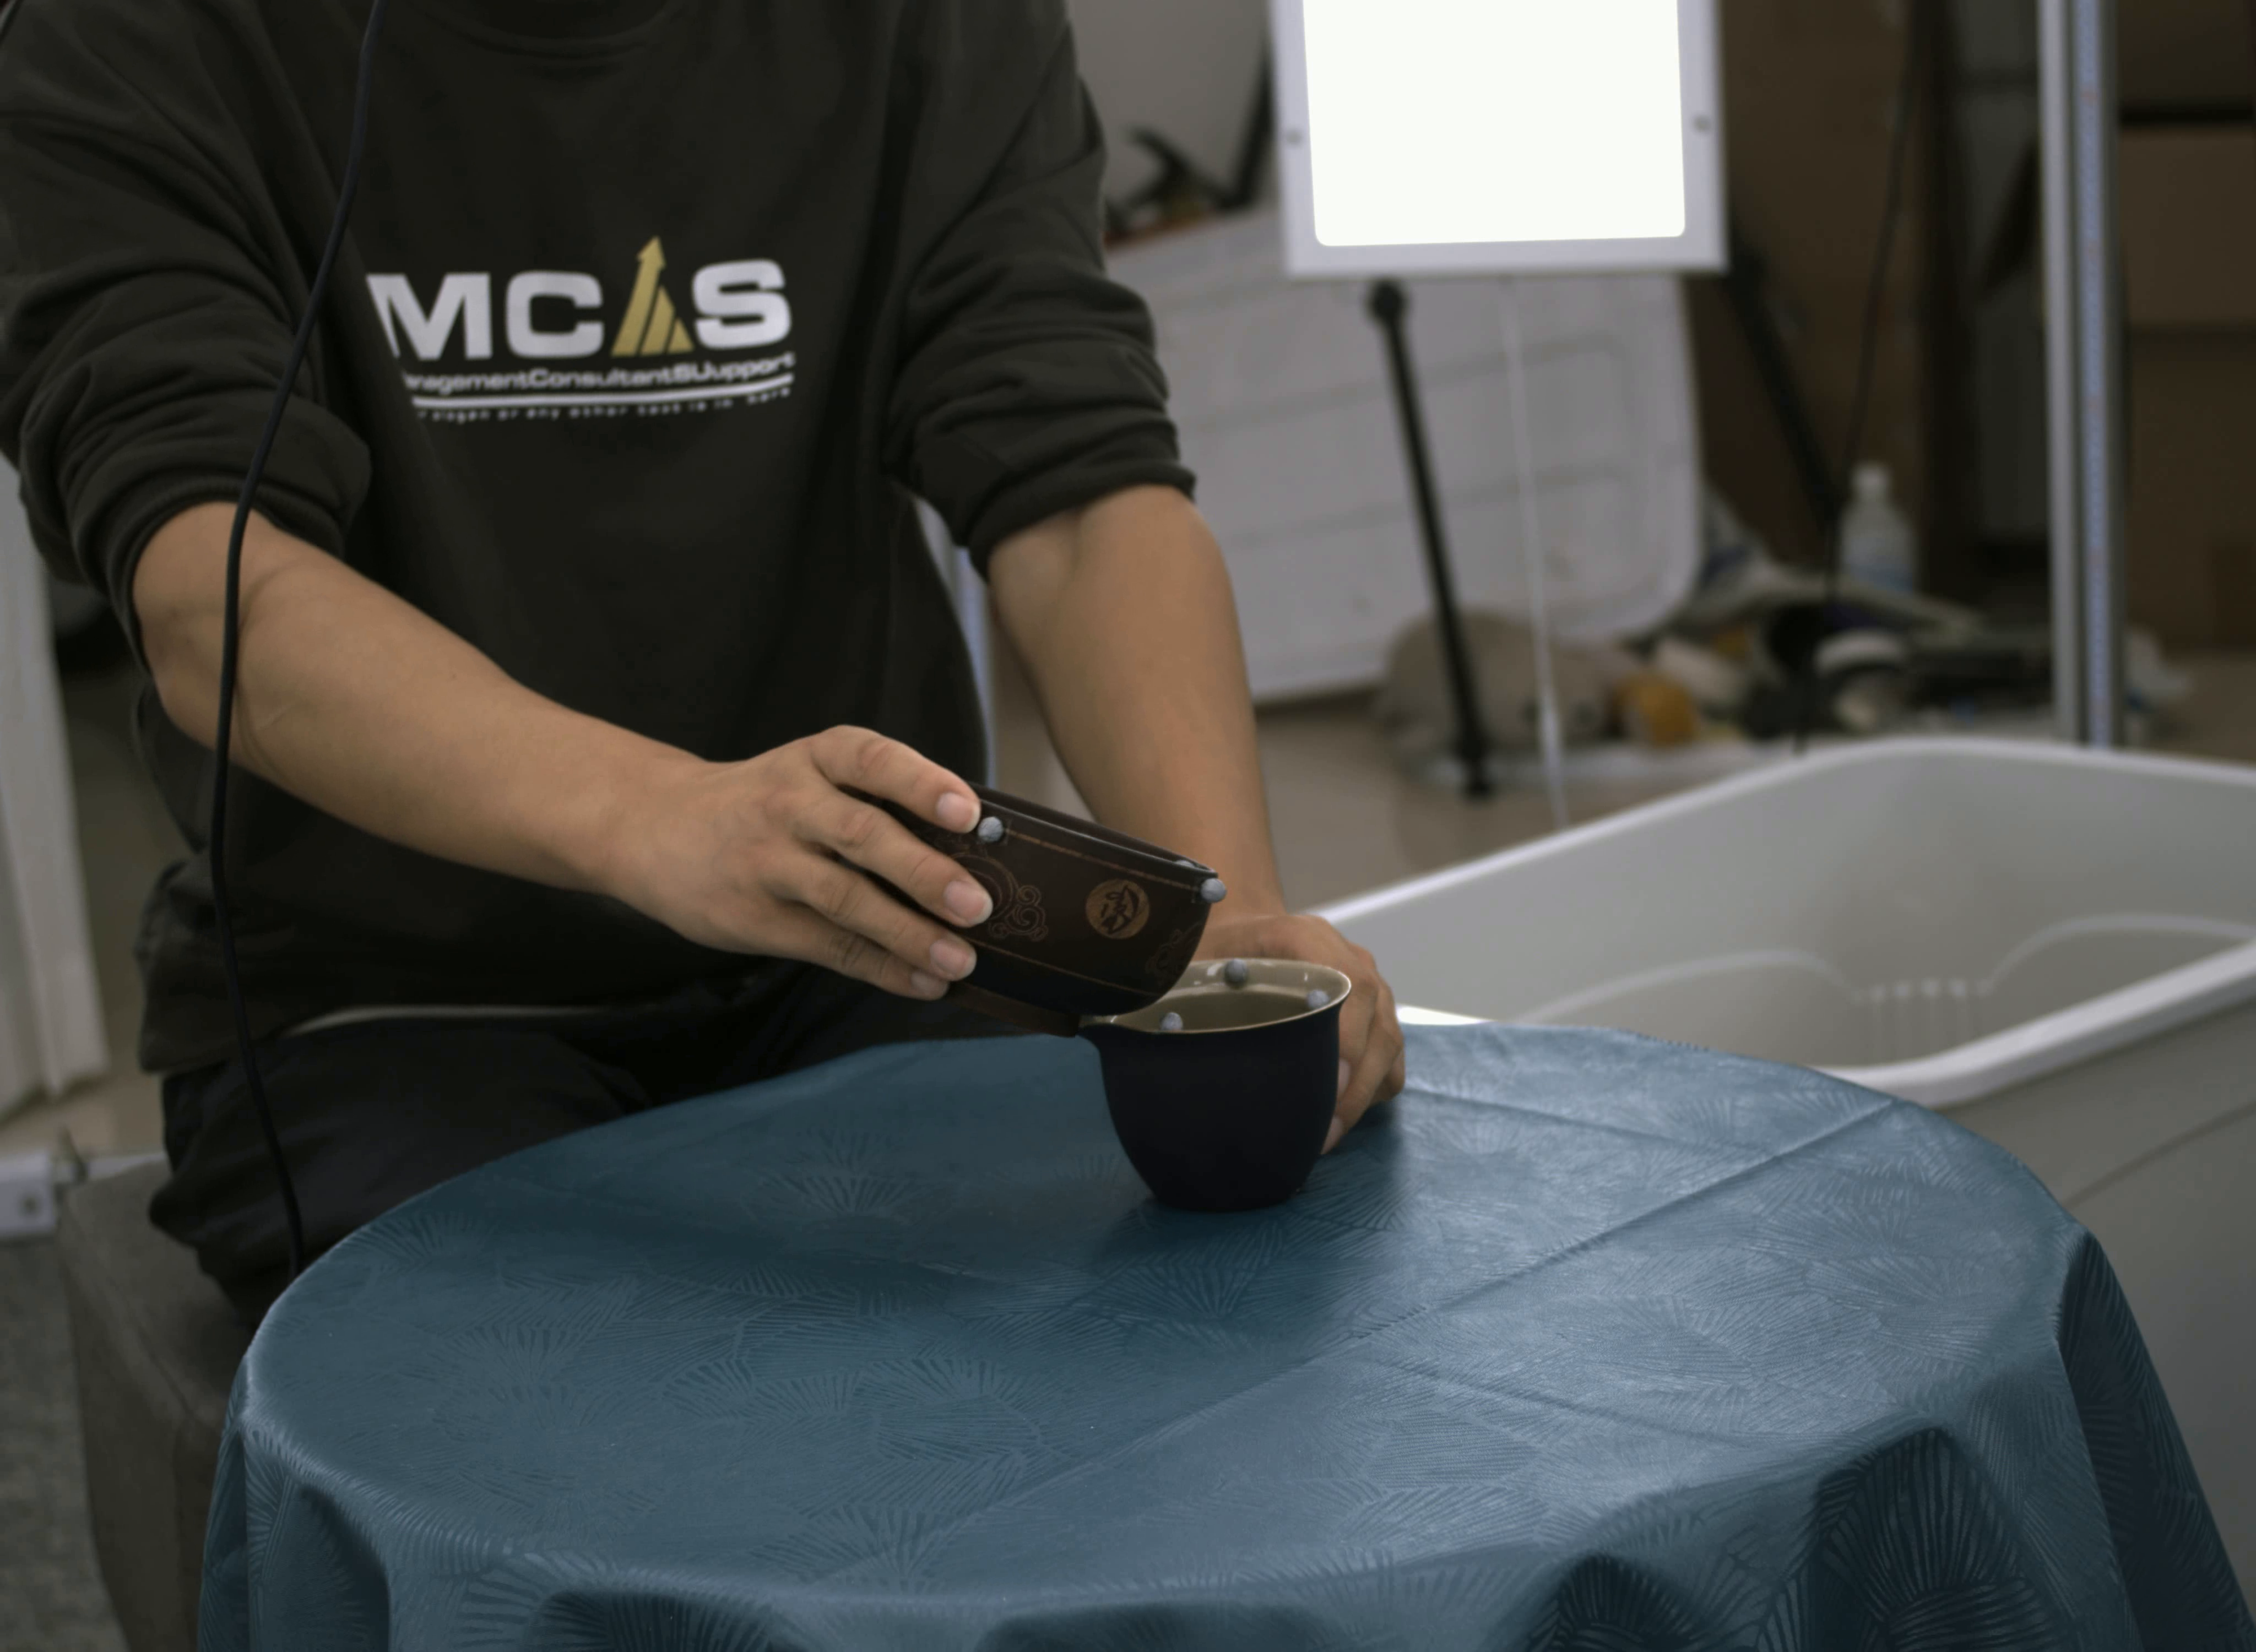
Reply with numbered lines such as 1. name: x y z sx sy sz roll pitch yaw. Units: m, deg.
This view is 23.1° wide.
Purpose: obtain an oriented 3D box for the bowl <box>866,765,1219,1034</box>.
1. bowl: -0.033 0.029 1.846 0.117 0.070 0.118 17 2 -2

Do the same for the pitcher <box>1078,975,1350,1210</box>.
1. pitcher: 0.031 0.090 1.880 0.095 0.071 0.084 -7 15 -10
